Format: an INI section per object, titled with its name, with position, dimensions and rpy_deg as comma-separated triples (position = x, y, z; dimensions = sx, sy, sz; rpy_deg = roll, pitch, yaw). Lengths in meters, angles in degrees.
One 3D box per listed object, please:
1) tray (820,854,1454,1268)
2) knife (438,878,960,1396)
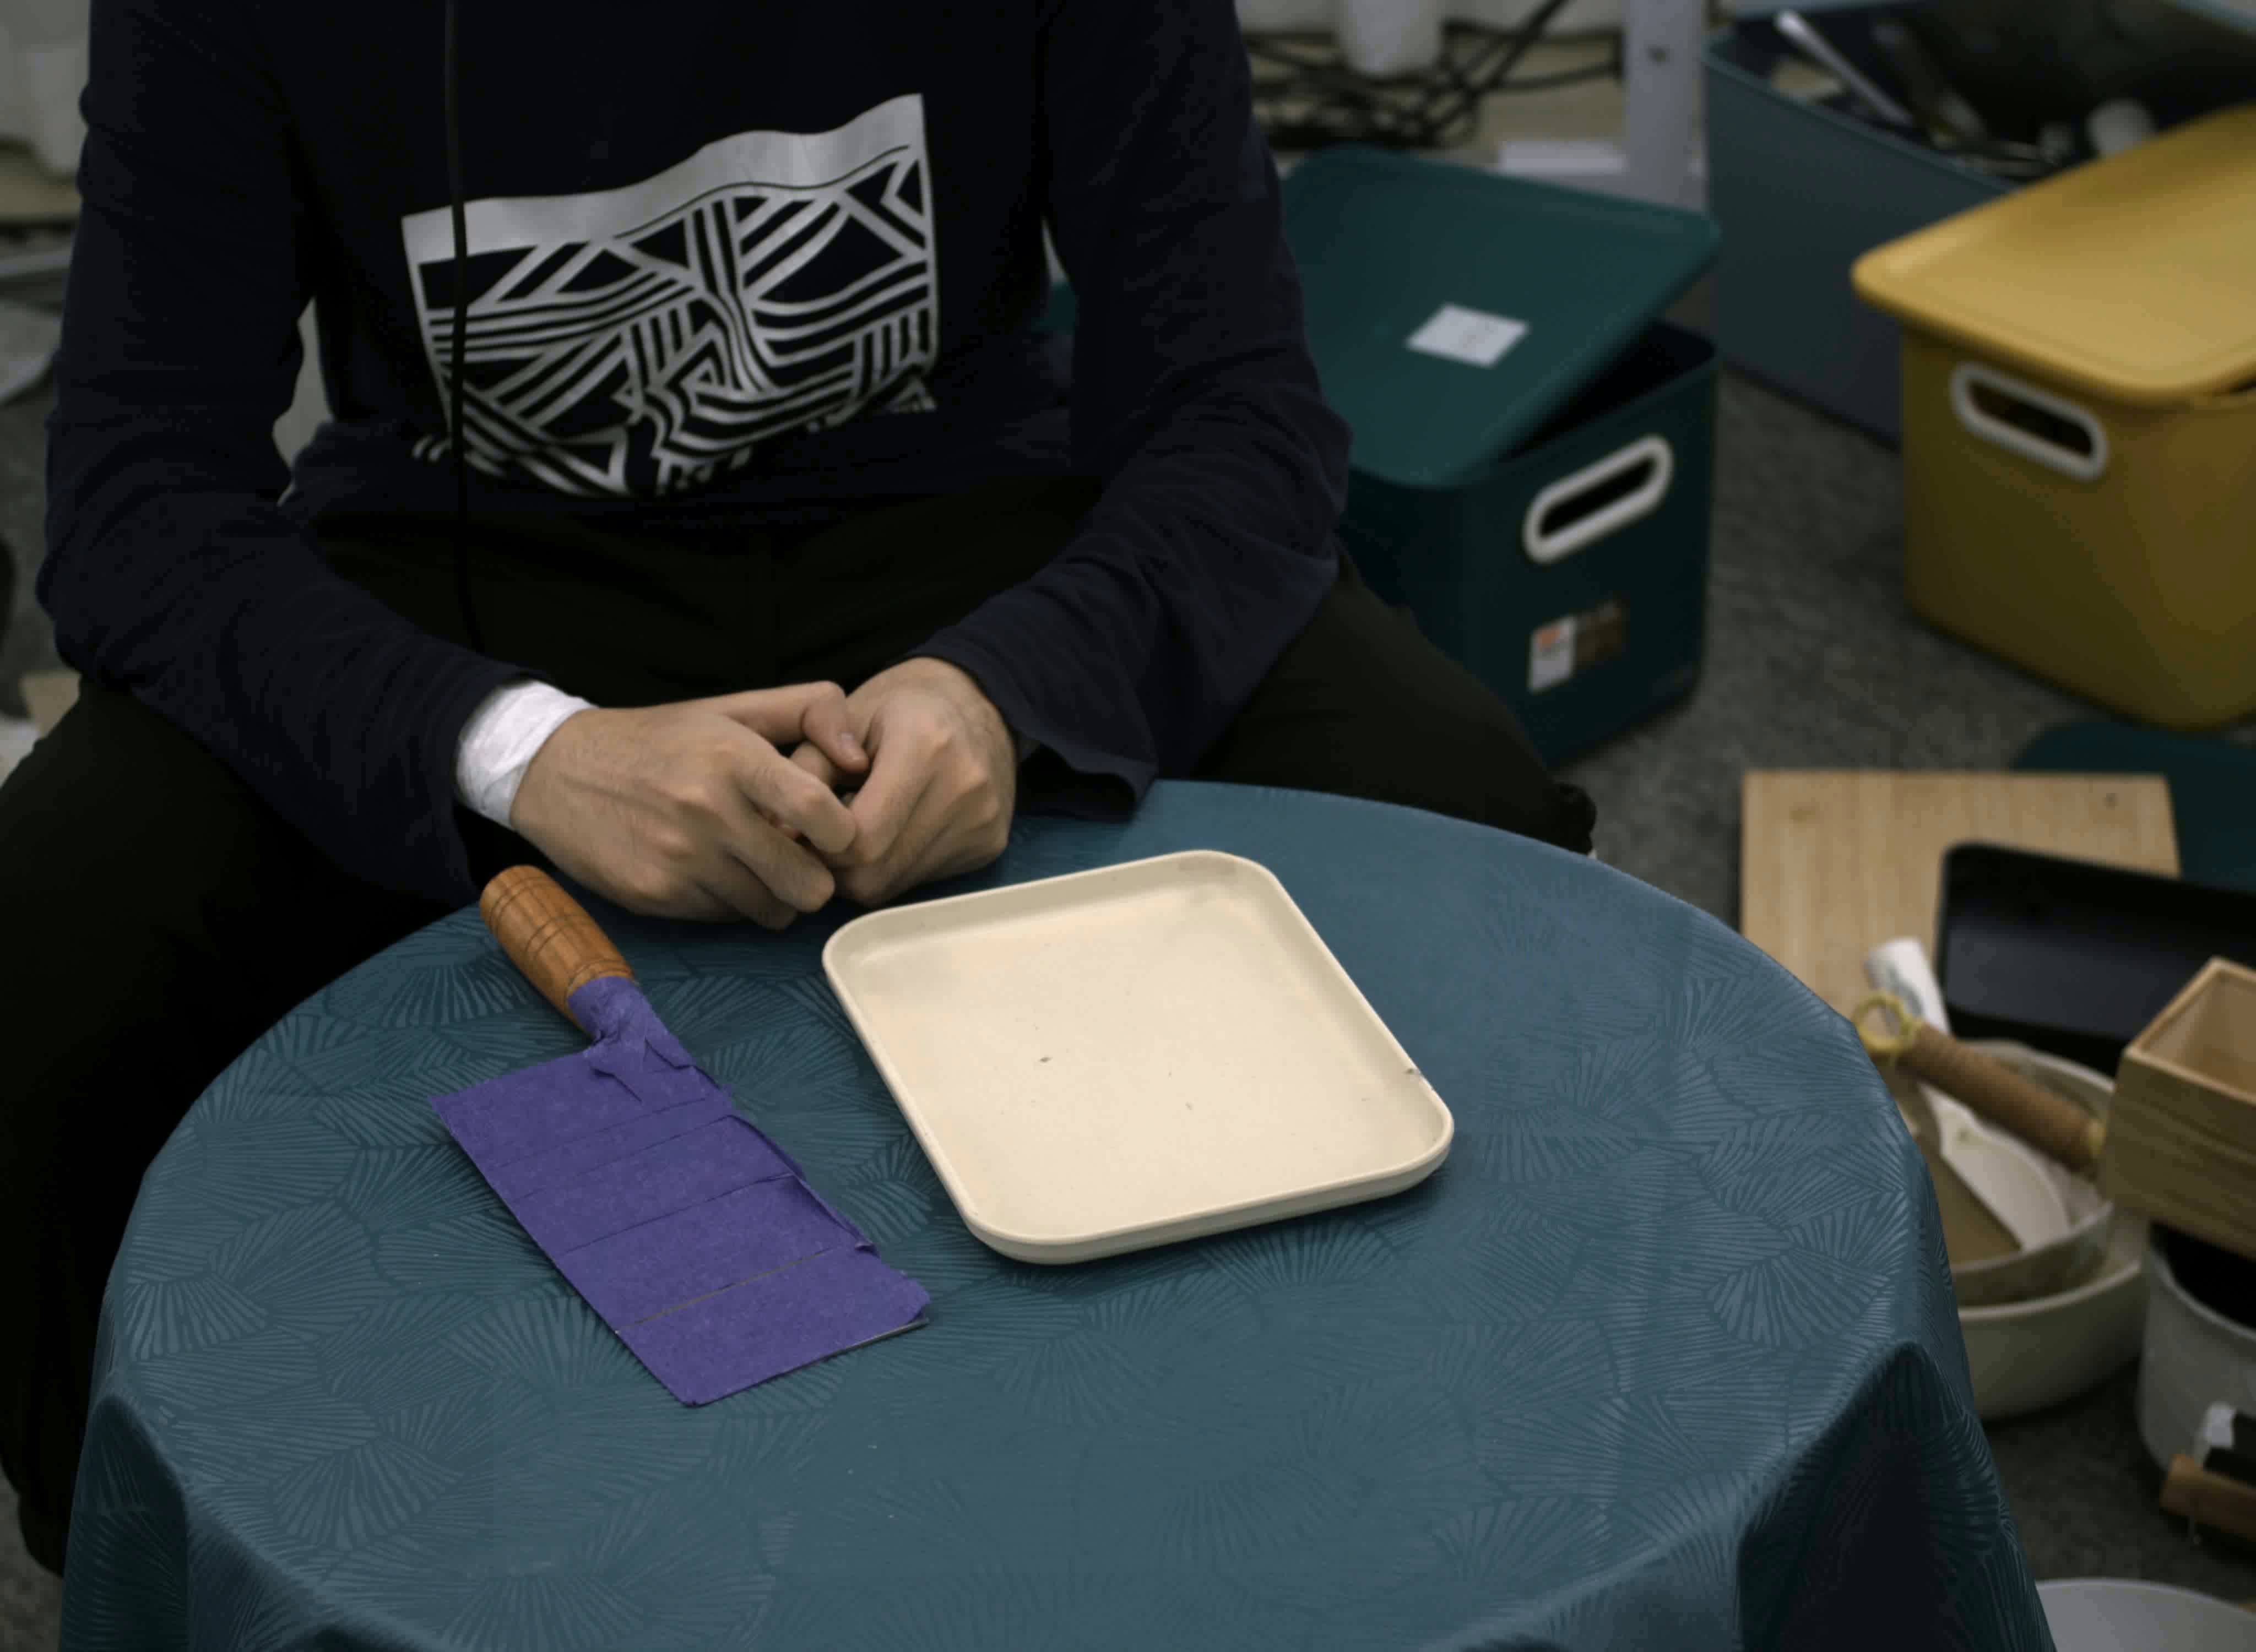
[tray]
position = 0.000, 0.079, 1.925
dimensions = 0.171, 0.017, 0.242
rpy_deg = -11, 28, -14
[knife]
position = -0.174, 0.101, 1.890
dimensions = 0.104, 0.032, 0.316
rpy_deg = -16, 31, -25
